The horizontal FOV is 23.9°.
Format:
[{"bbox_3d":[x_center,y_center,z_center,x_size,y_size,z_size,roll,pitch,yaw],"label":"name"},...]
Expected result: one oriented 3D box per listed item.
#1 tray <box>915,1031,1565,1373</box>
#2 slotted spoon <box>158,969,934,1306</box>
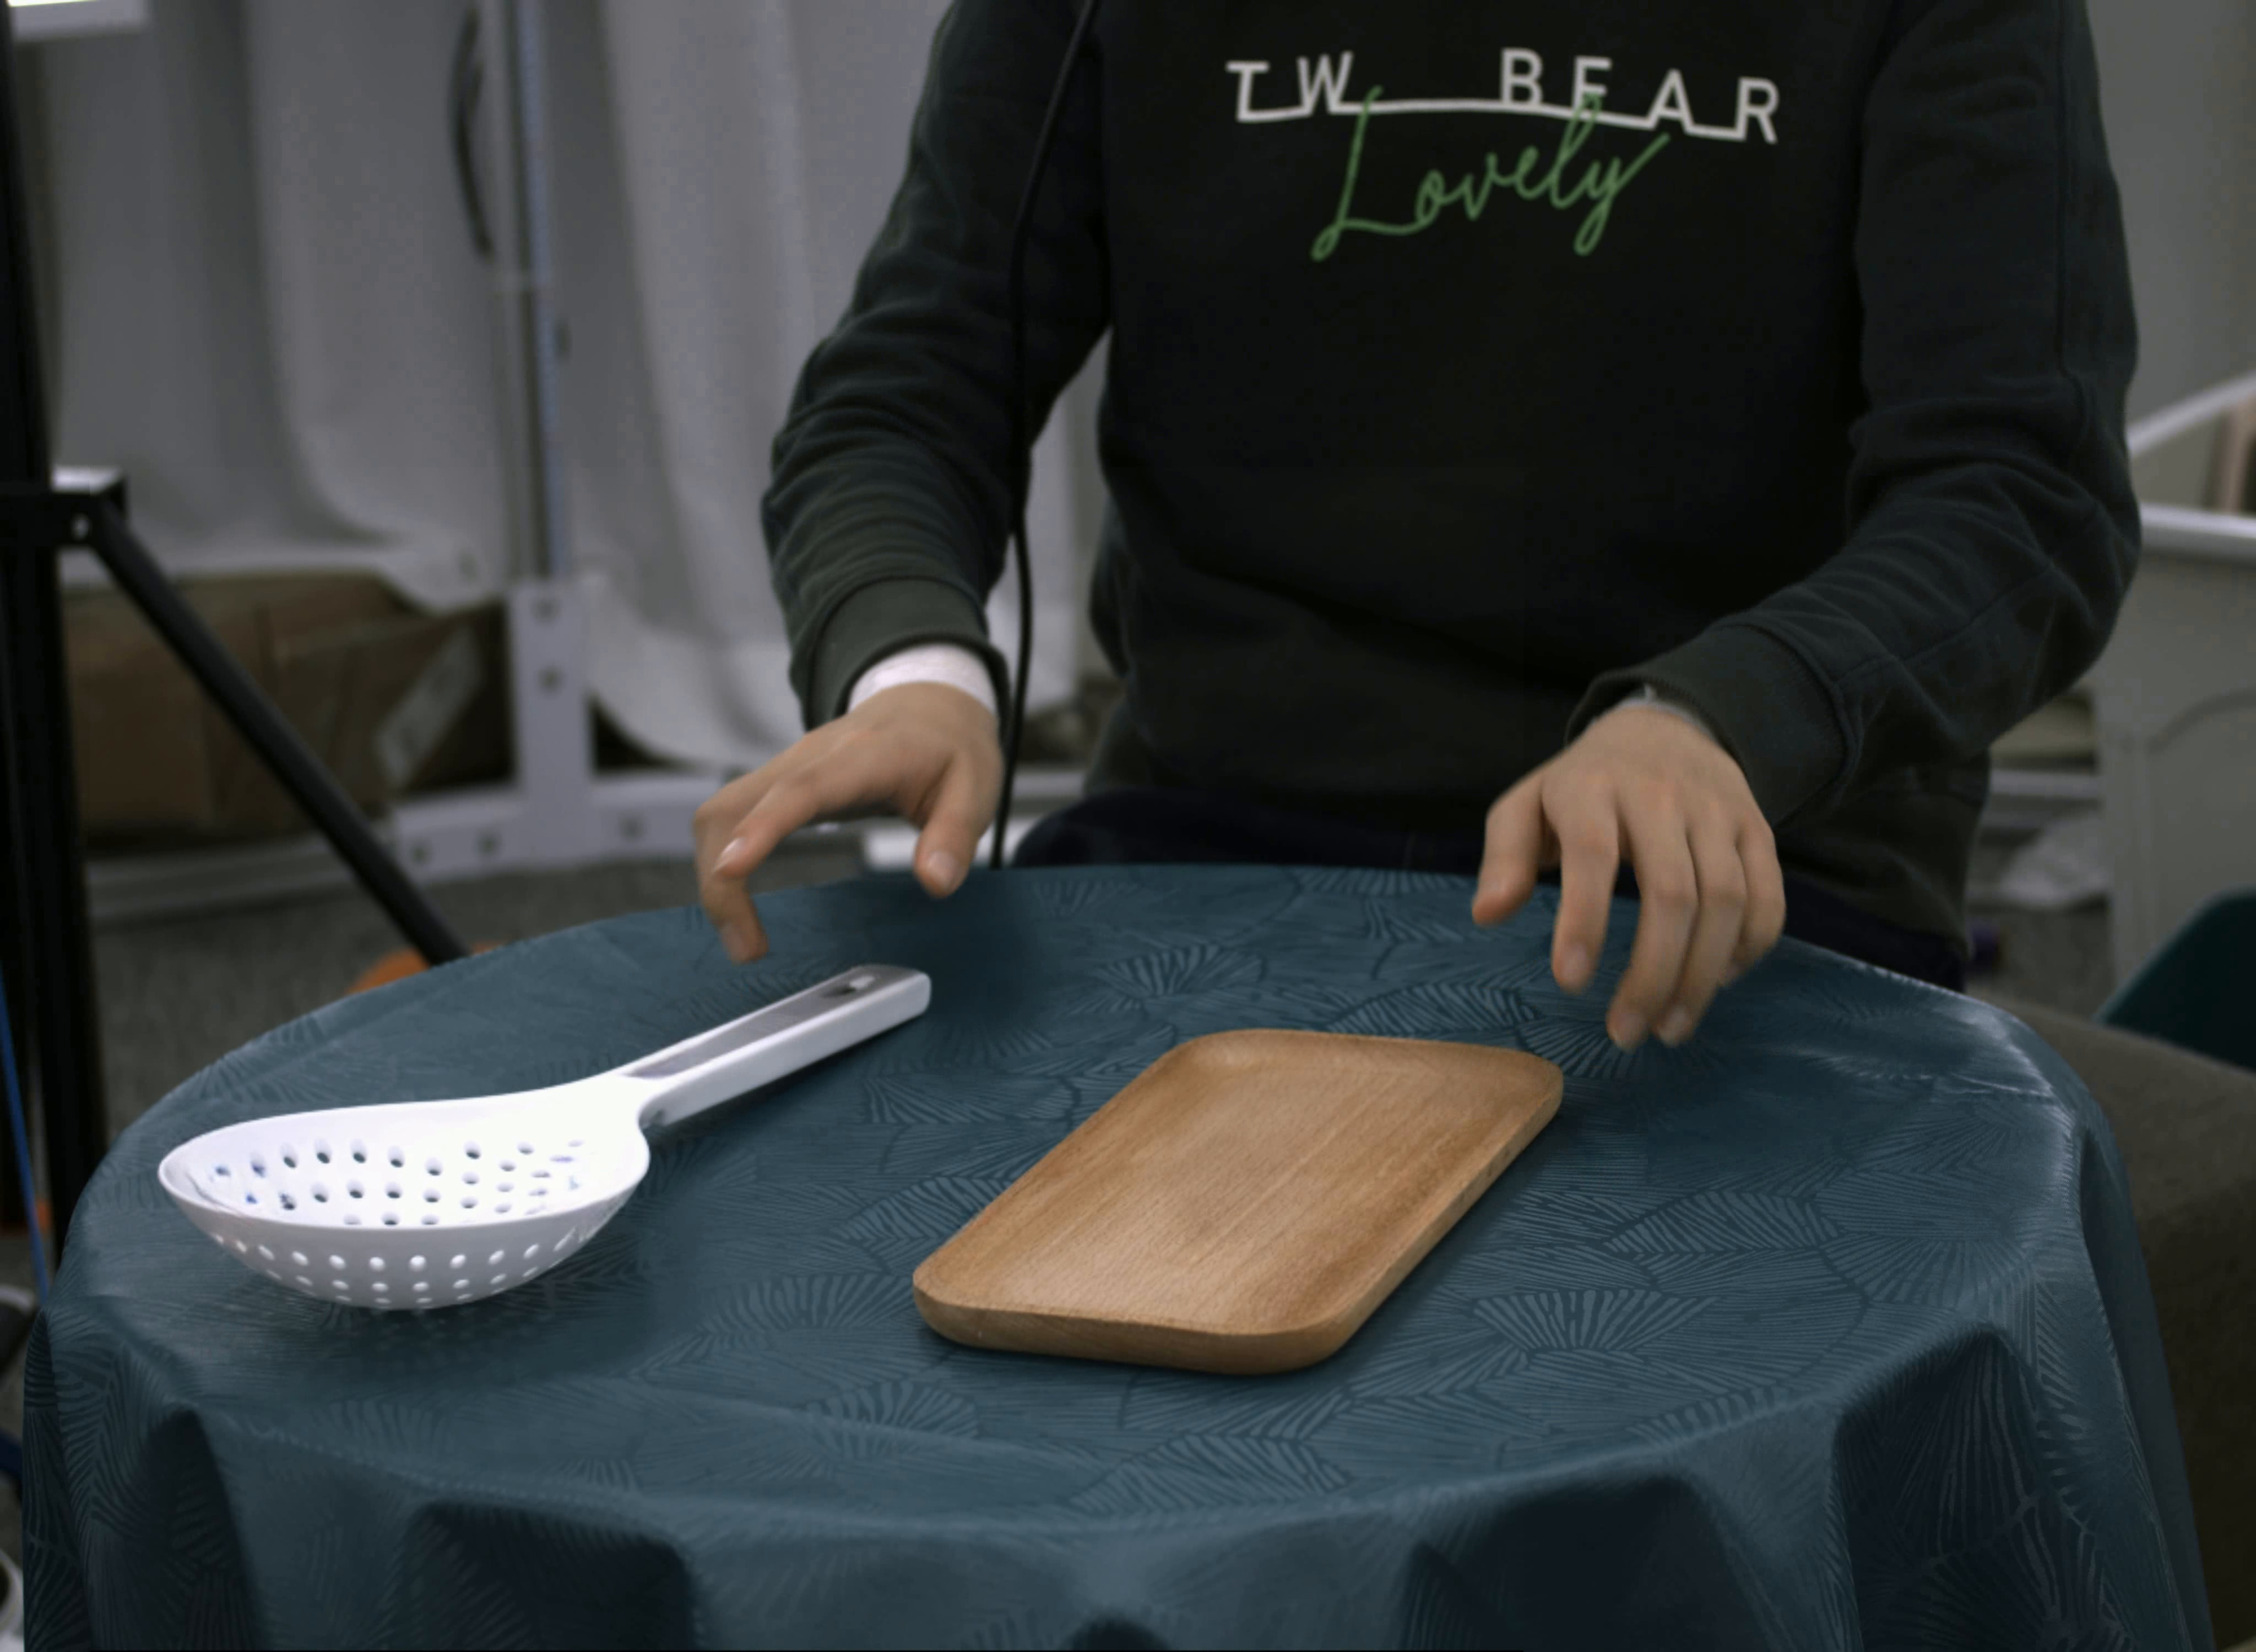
[{"bbox_3d":[0.037,0.106,1.531,0.132,0.023,0.247,6,17,21],"label":"tray"},{"bbox_3d":[-0.154,0.083,1.588,0.138,0.046,0.344,7,18,27],"label":"slotted spoon"}]
